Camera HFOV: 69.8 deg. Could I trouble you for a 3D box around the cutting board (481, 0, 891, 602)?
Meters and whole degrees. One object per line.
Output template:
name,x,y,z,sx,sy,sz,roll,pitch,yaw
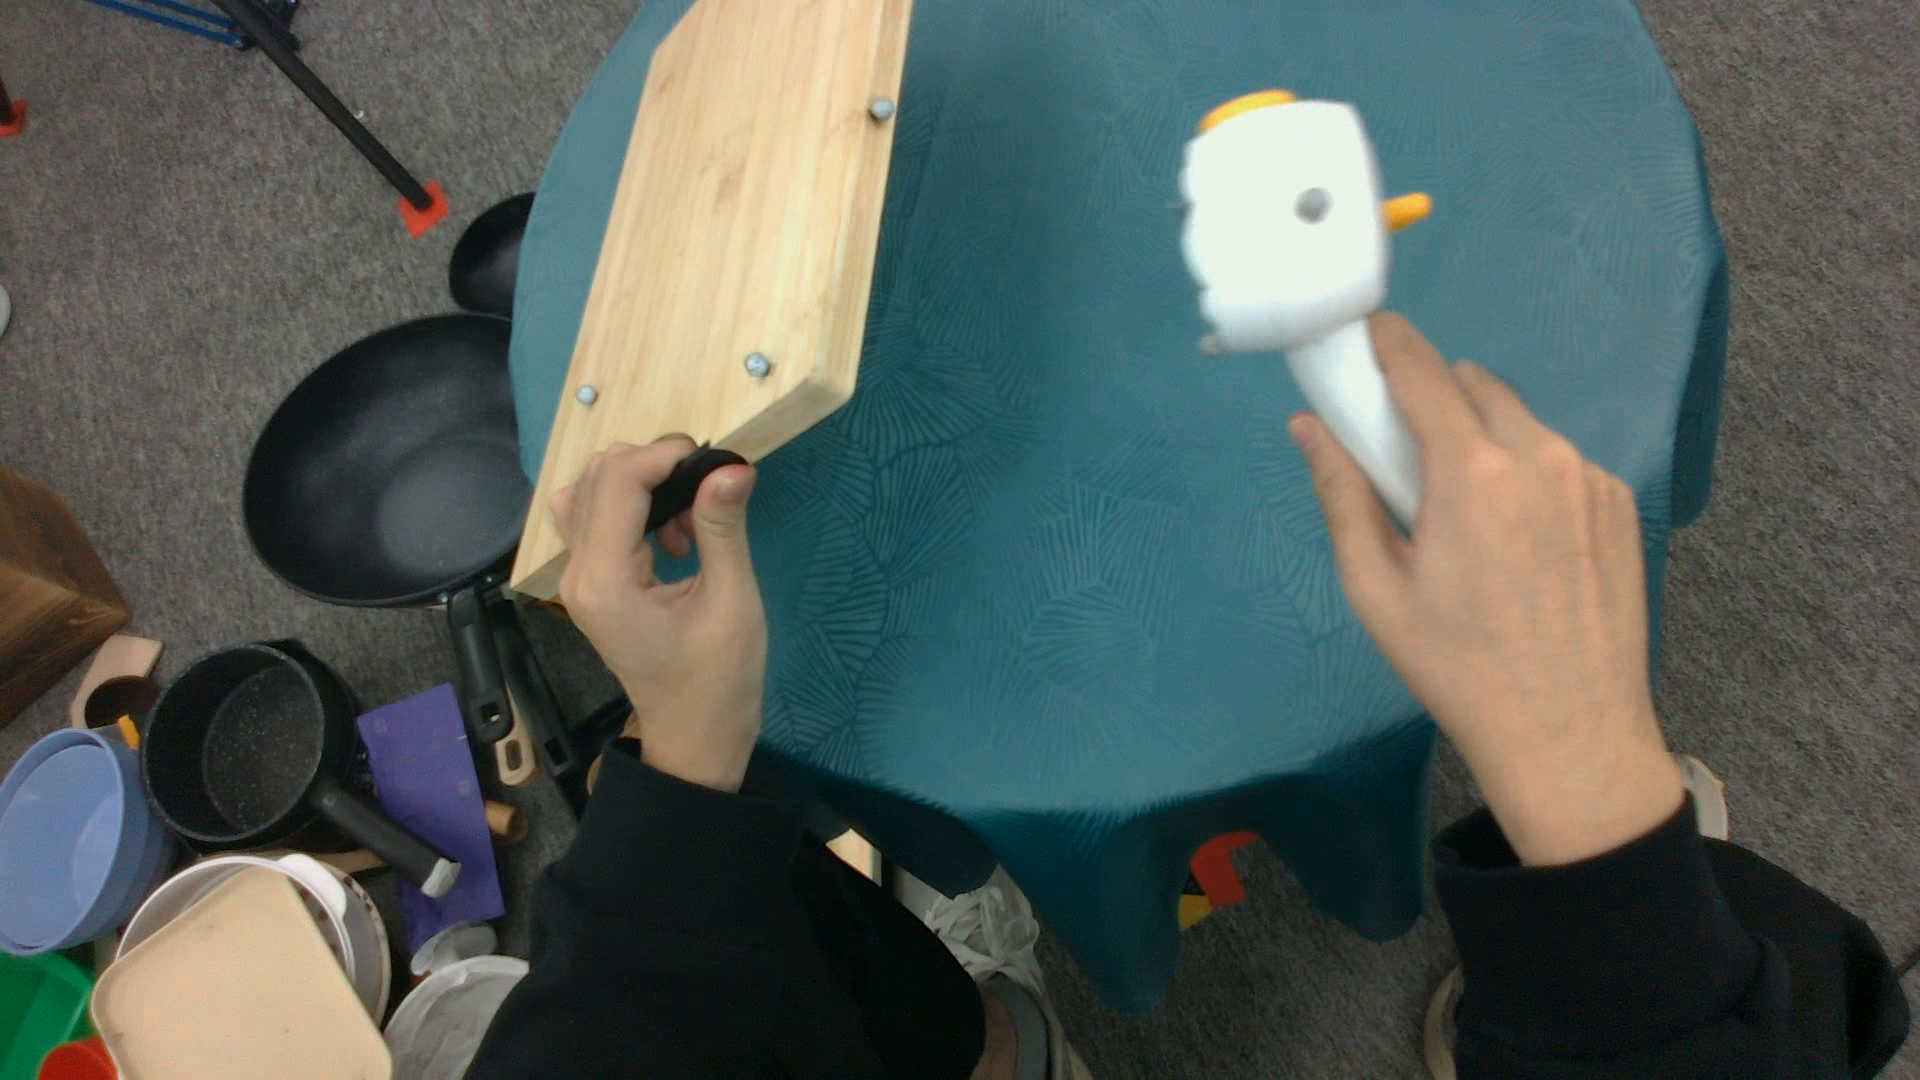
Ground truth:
cutting board,-0.113,-0.163,0.611,0.249,0.023,0.350,-26,49,43

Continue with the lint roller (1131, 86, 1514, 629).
lint roller,0.120,-0.051,0.454,0.074,0.193,0.192,-23,96,11
